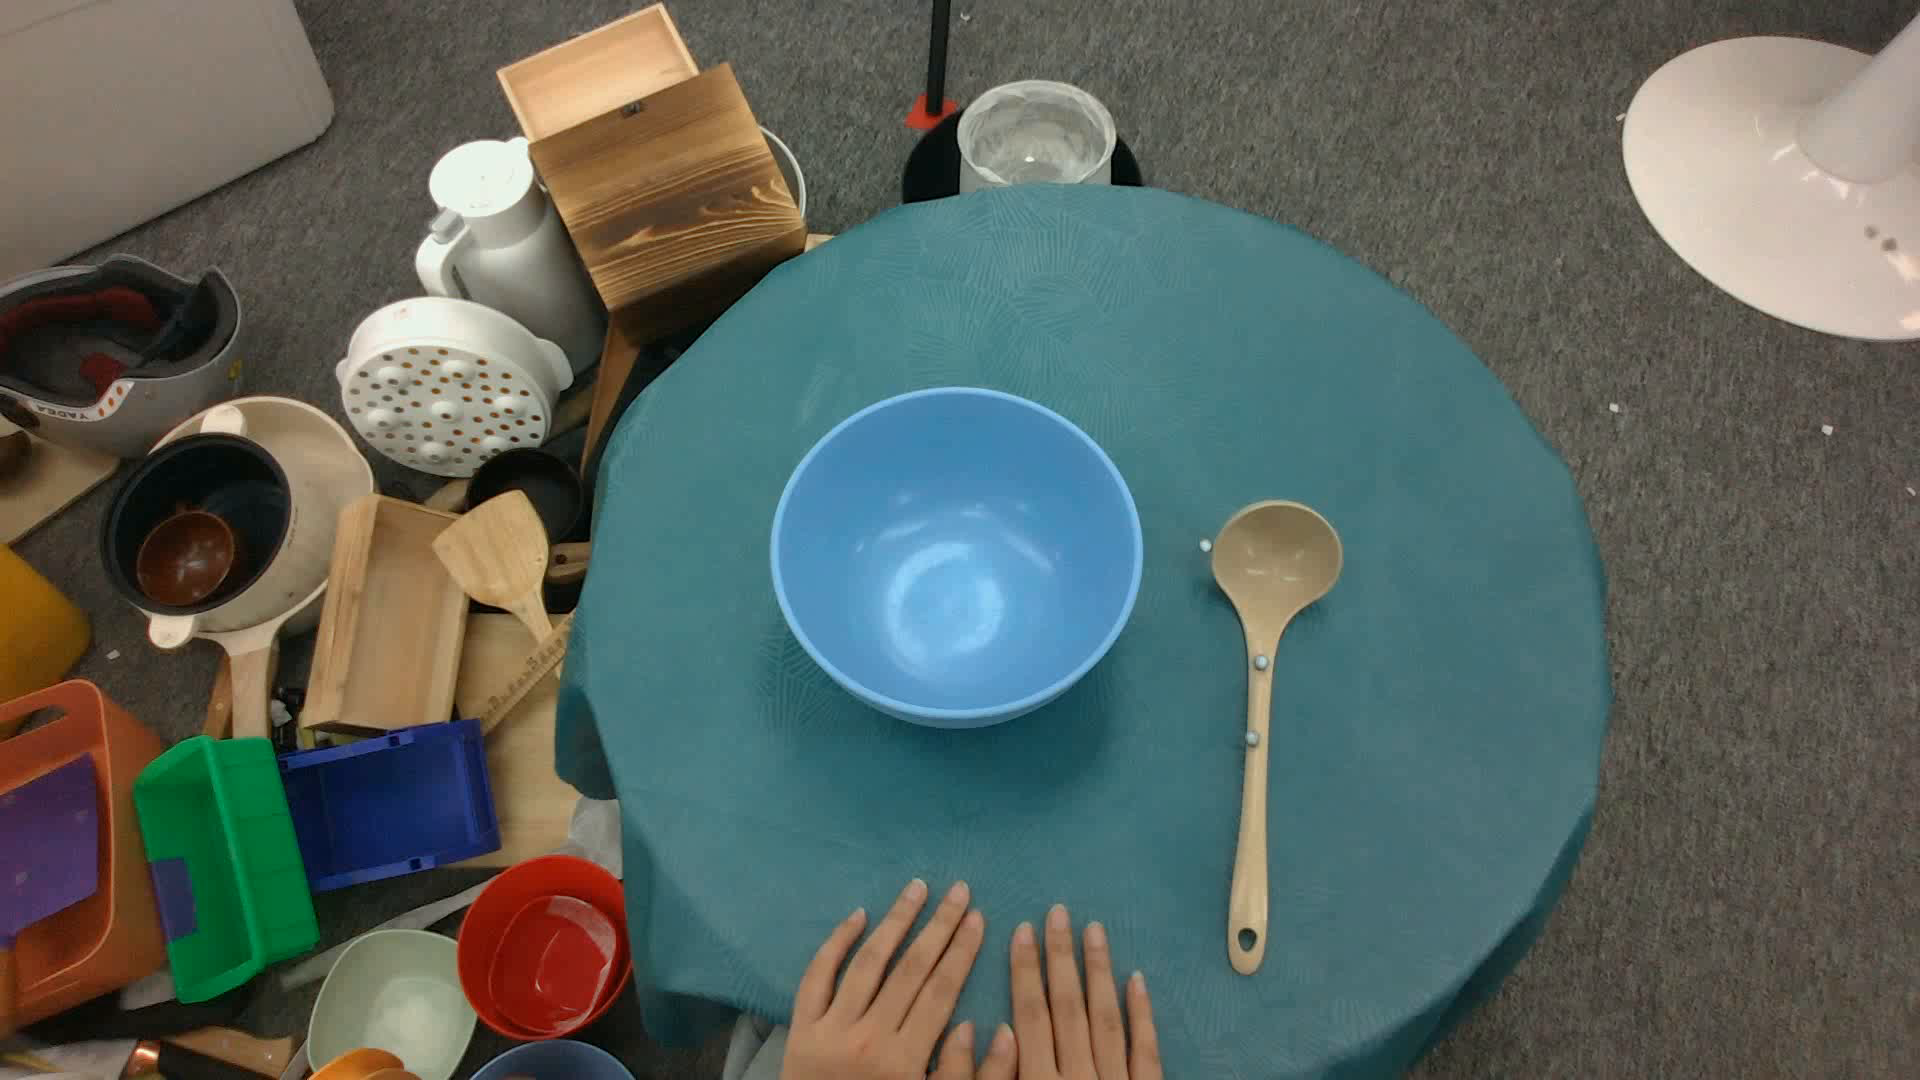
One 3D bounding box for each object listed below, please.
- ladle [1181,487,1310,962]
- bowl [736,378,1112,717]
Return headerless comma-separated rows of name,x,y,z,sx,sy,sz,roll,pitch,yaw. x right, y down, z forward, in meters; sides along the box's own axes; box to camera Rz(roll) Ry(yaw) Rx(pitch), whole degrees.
ladle,0.152,0.090,0.739,0.072,0.072,0.255,6,62,2
bowl,-0.019,0.017,0.758,0.196,0.095,0.197,1,59,-1
